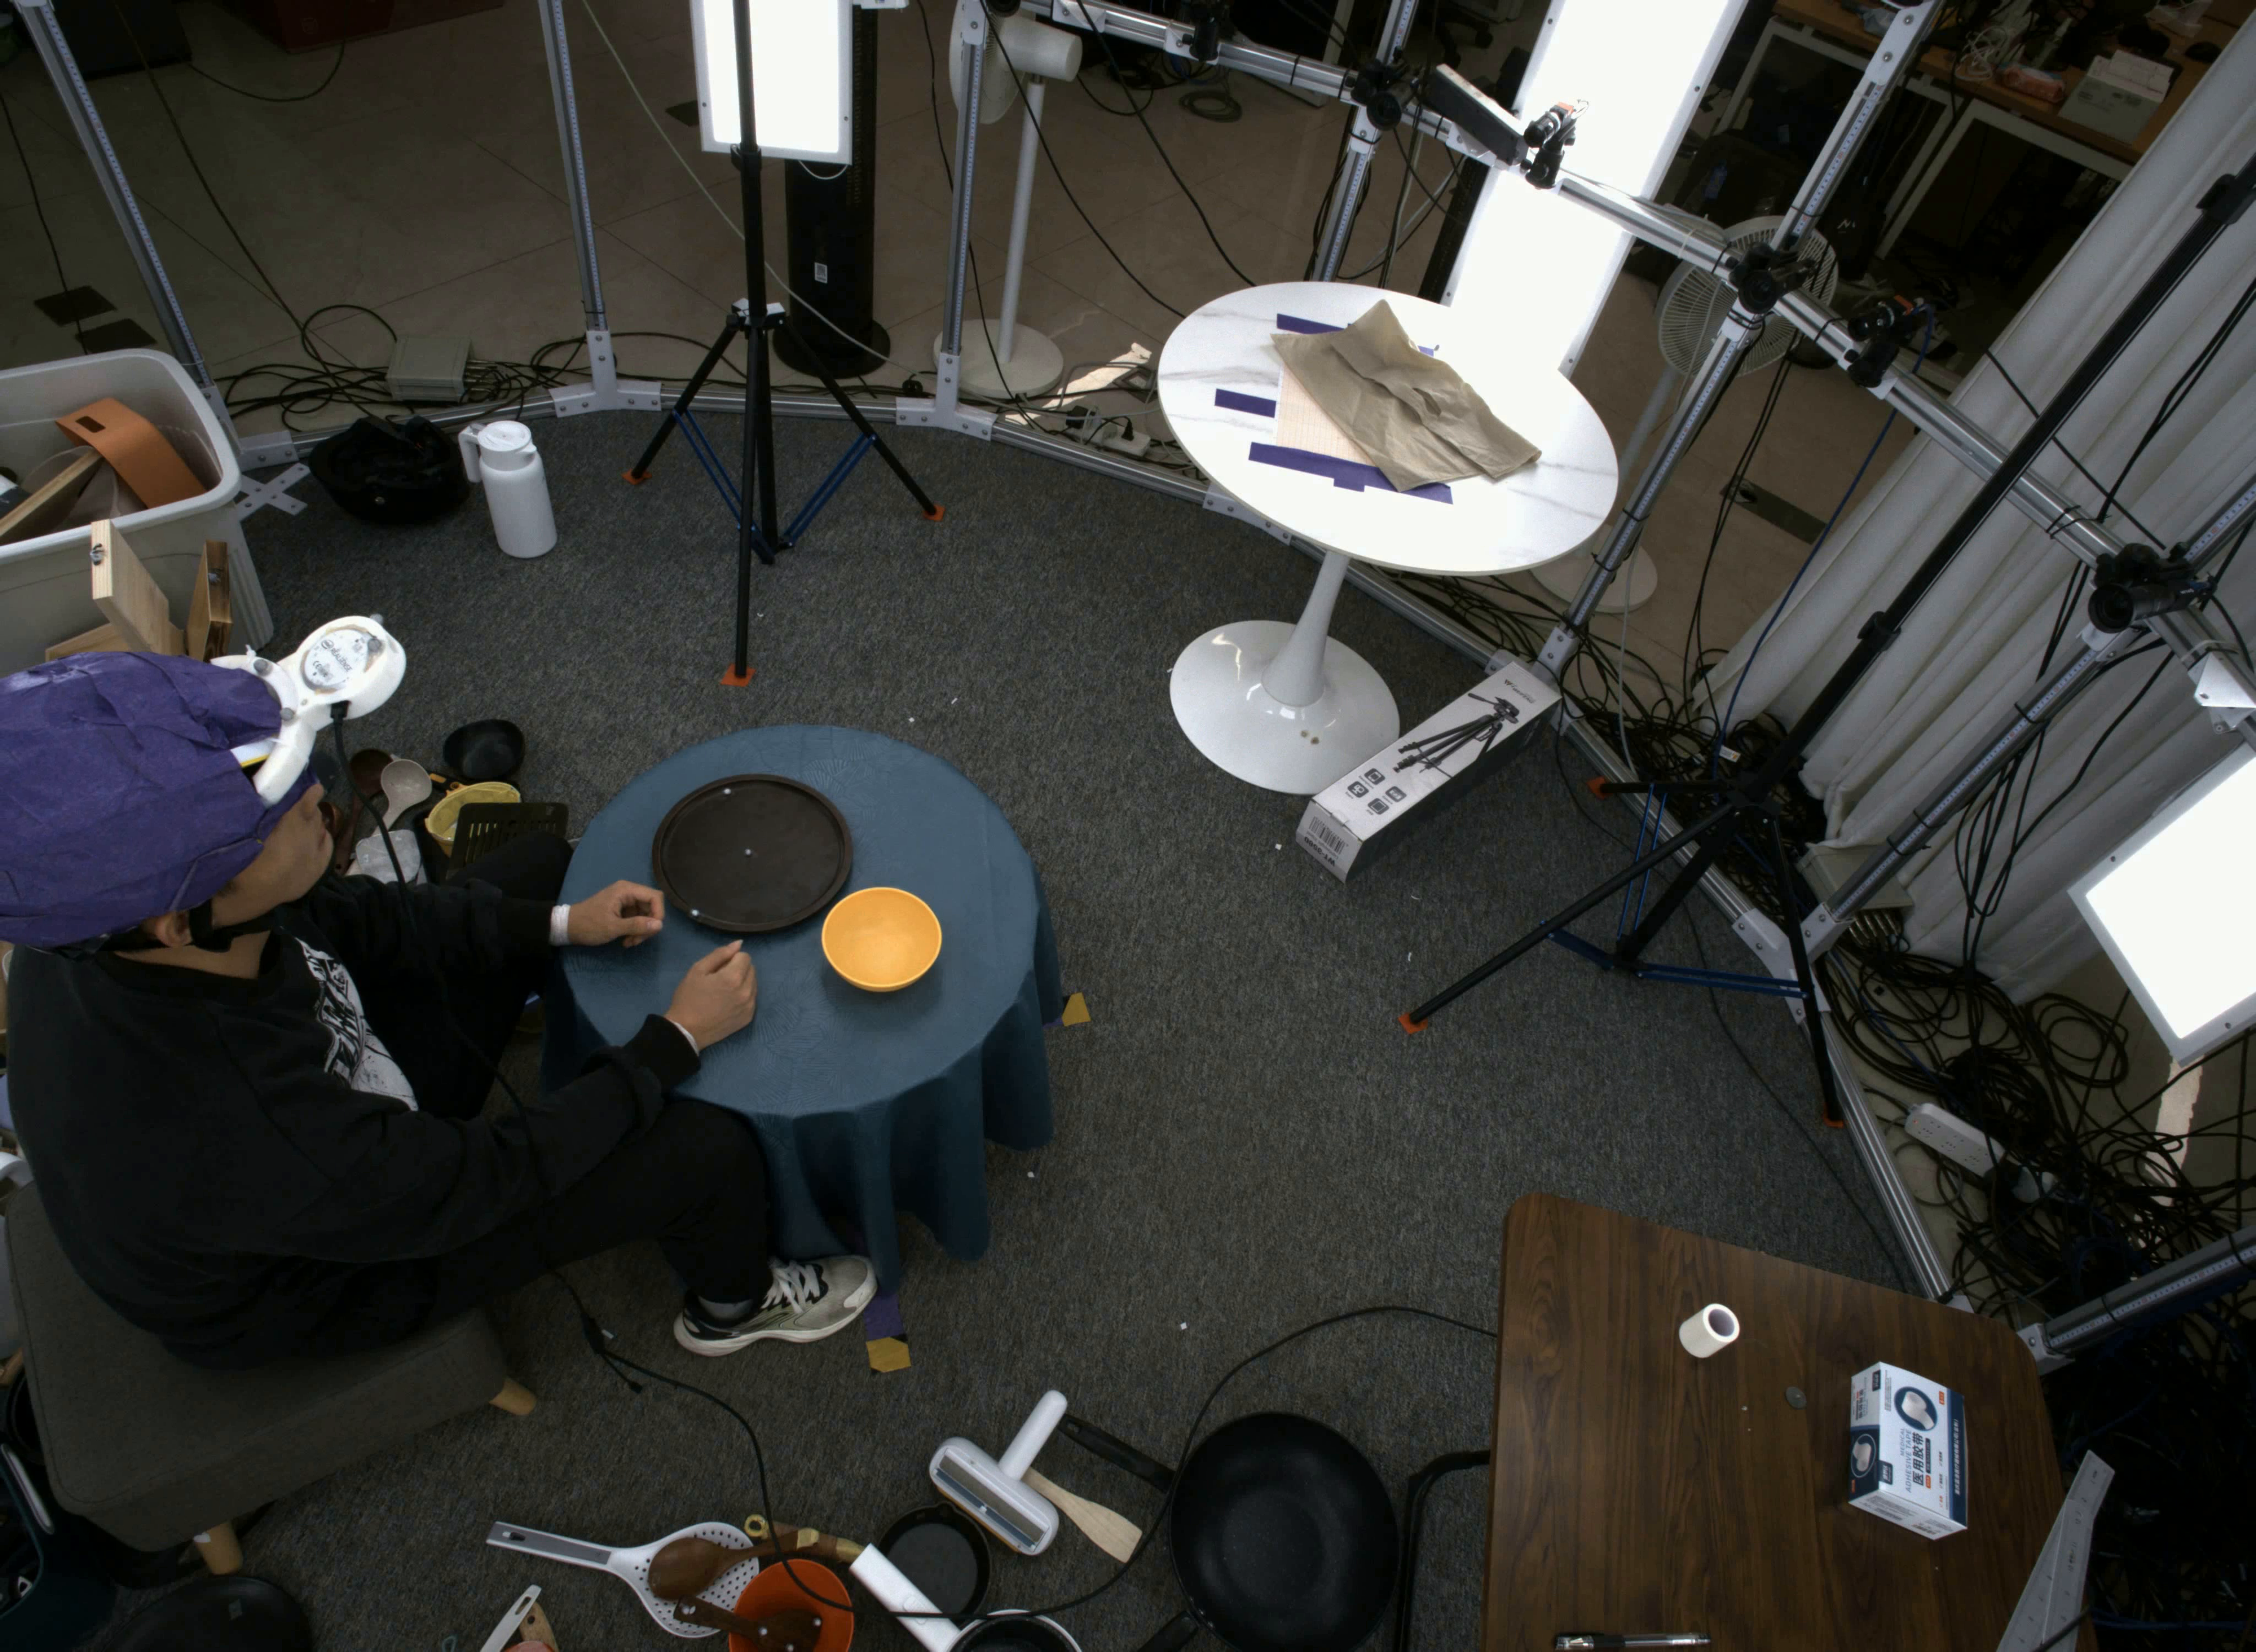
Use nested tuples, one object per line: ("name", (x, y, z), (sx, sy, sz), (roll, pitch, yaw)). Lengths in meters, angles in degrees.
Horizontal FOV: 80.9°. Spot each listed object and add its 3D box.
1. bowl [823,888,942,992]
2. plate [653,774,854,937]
("bowl", (-0.303, 0.150, 1.612), (0.144, 0.061, 0.143), (6, 53, -6))
("plate", (-0.483, 0.035, 1.673), (0.254, 0.029, 0.250), (8, 54, -9))
